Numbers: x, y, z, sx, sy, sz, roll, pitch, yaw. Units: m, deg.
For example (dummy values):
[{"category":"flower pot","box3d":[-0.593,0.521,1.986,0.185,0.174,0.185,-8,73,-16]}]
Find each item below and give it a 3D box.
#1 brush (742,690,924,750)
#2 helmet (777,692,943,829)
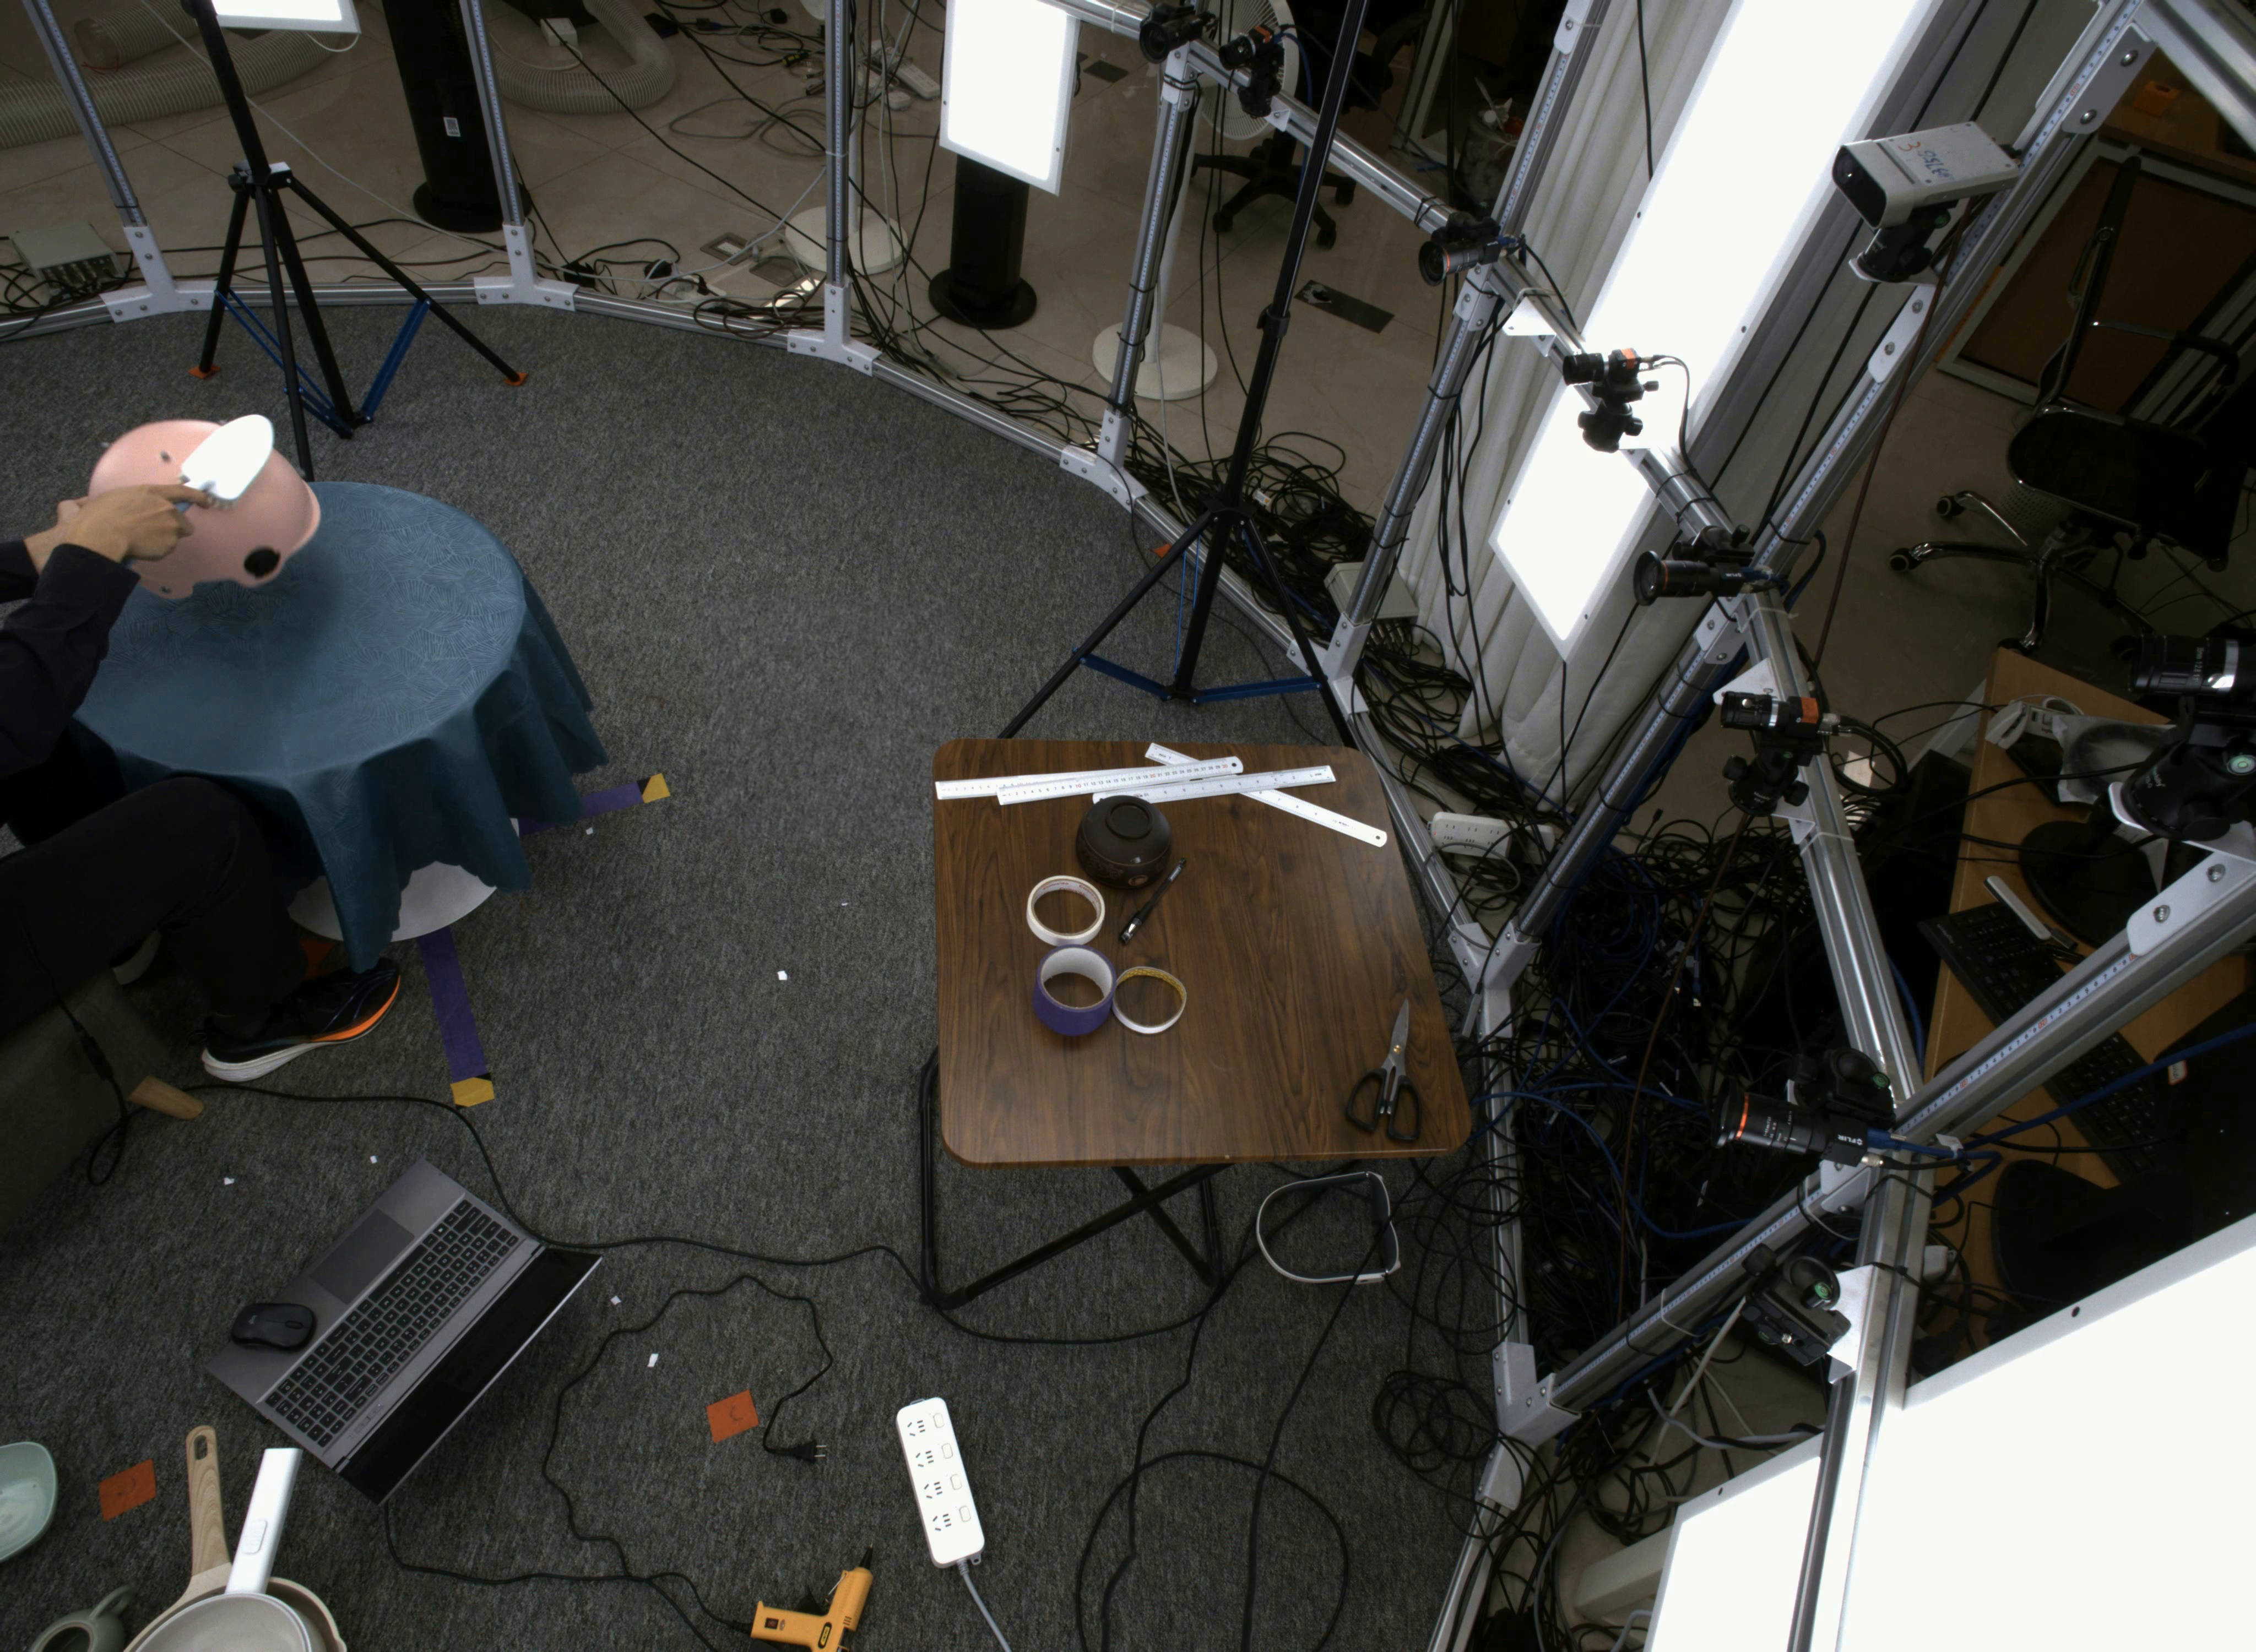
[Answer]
[{"category":"brush","box3d":[-0.435,-0.147,1.897,0.080,0.087,0.329,16,22,36]},{"category":"helmet","box3d":[-0.420,-0.122,2.055,0.267,0.163,0.227,3,34,-14]}]
